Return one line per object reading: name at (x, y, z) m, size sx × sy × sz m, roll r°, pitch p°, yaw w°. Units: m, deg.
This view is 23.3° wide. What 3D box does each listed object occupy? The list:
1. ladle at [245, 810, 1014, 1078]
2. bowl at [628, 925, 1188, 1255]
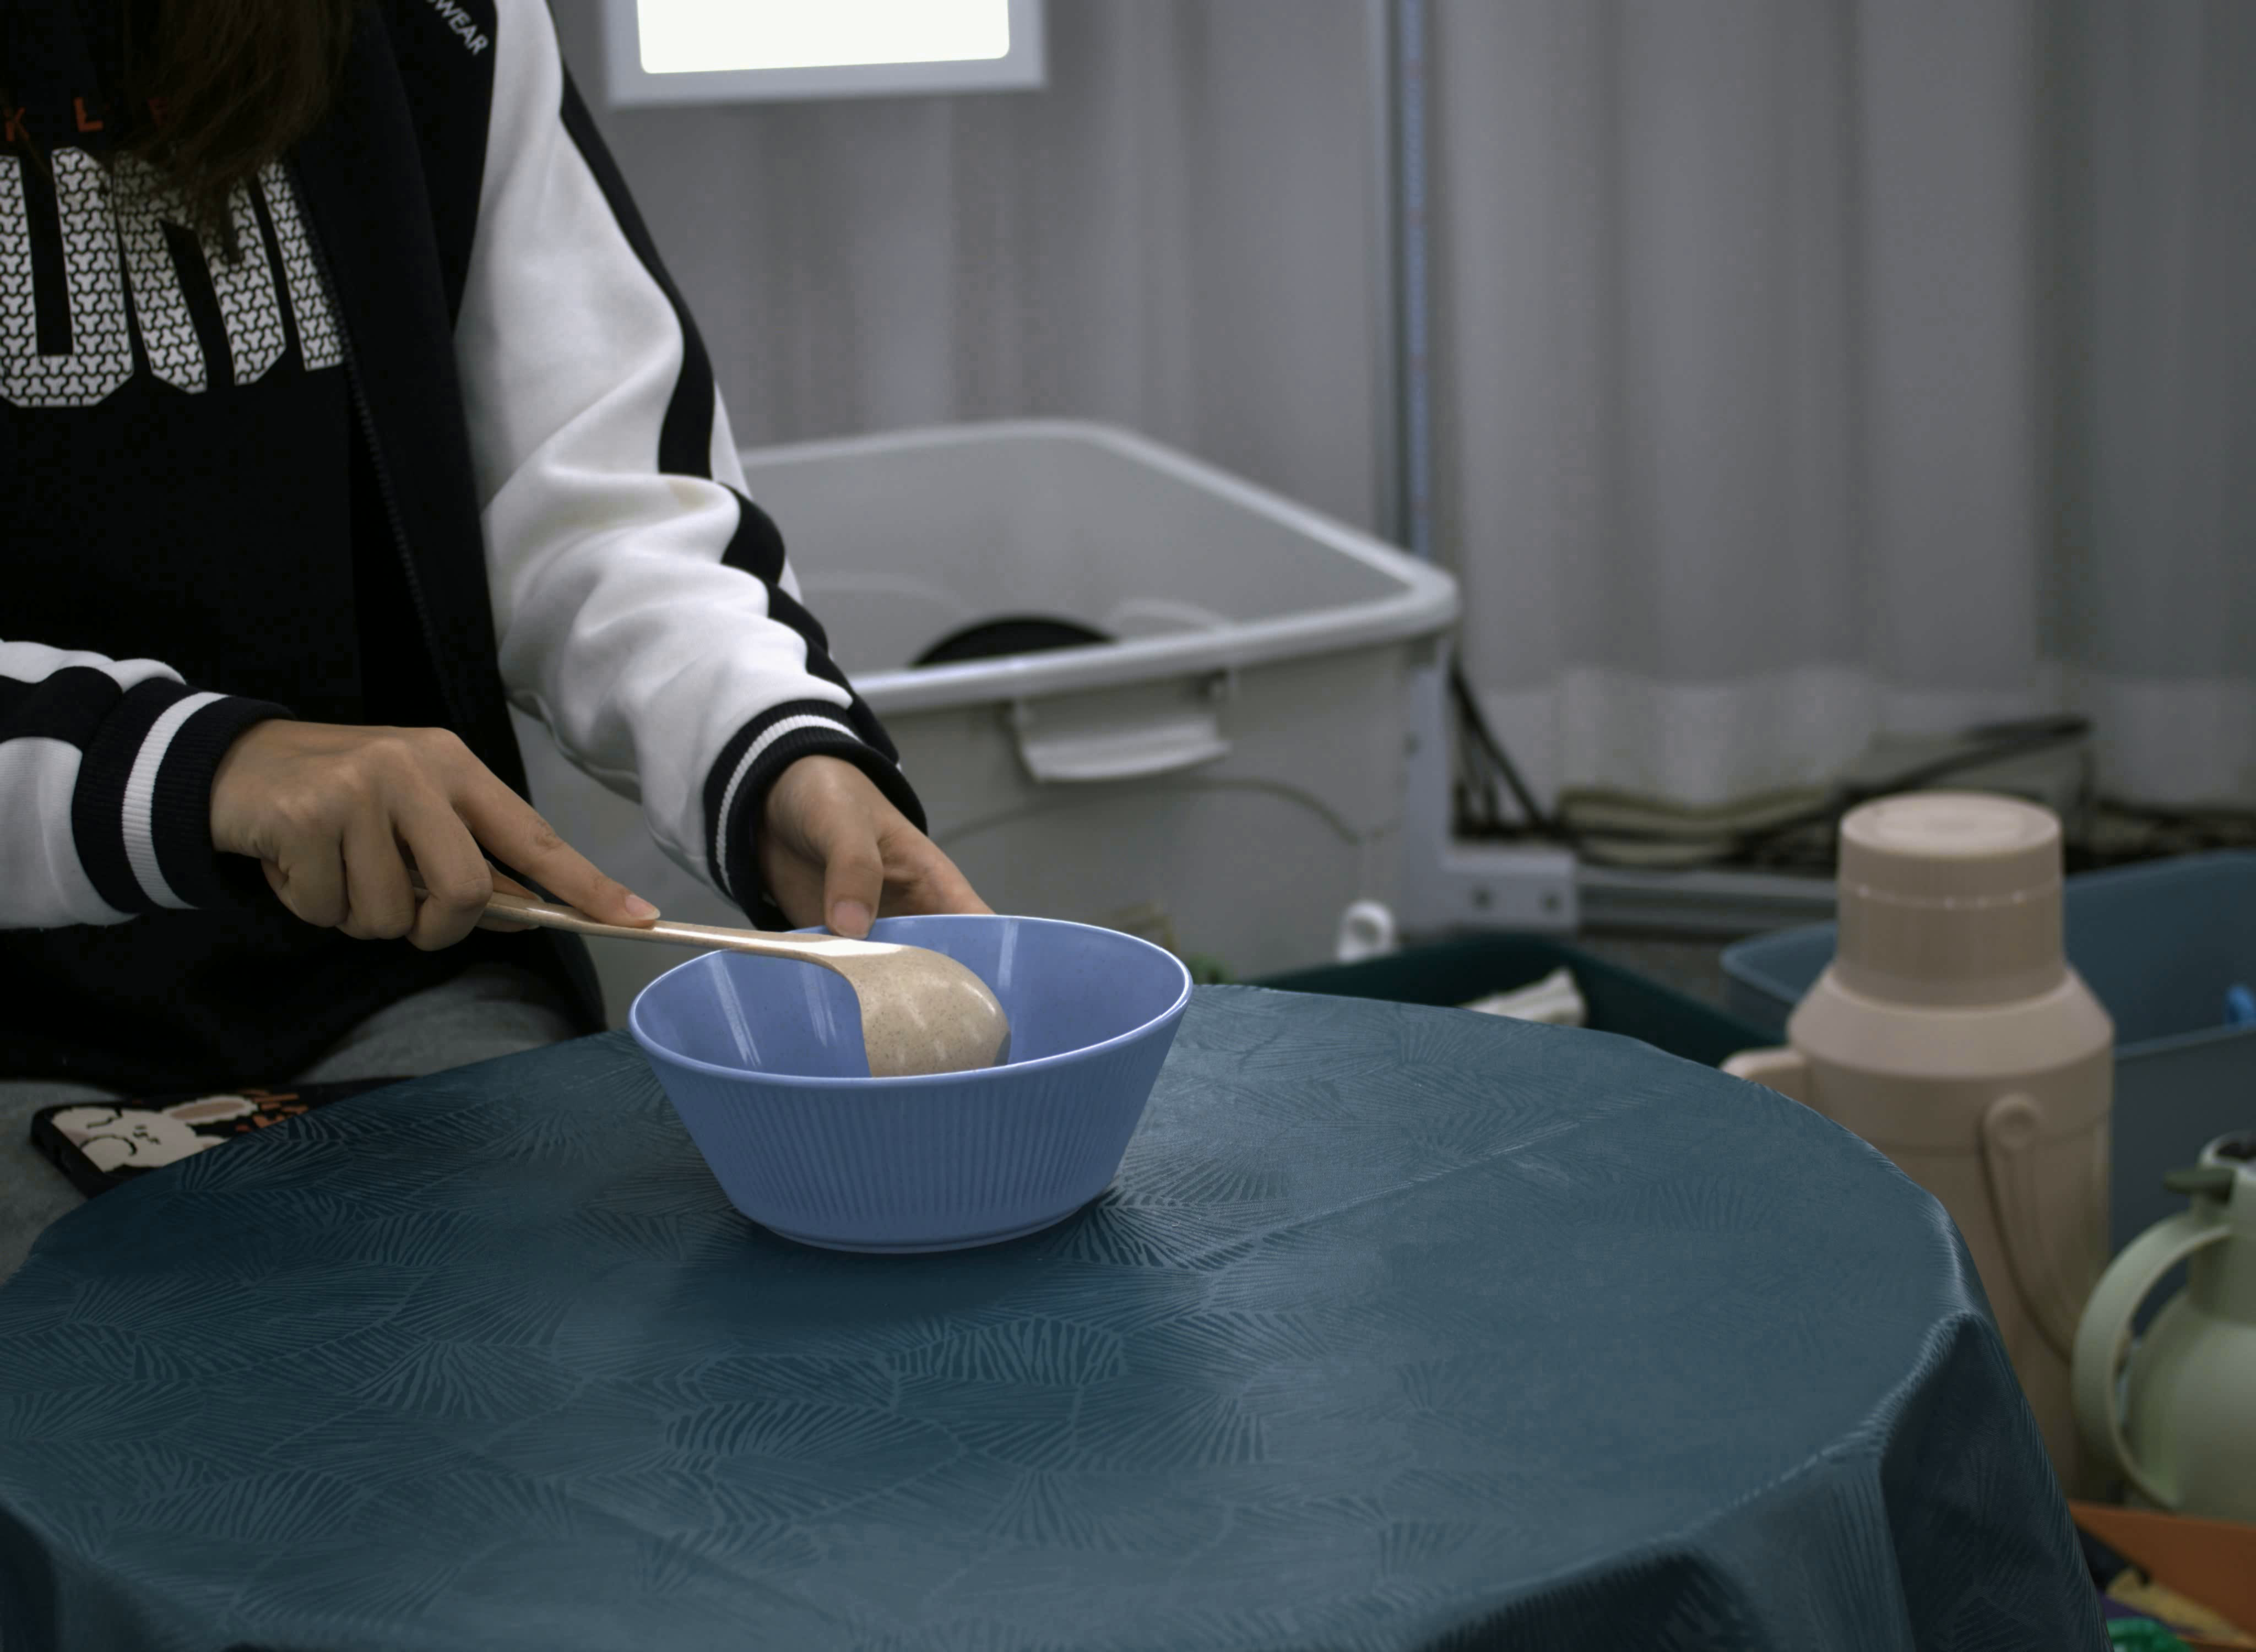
ladle at (-0.162, 0.055, 1.722) m, size 0.254 × 0.072 × 0.072 m, roll 12°, pitch 19°, yaw 11°
bowl at (-0.068, 0.085, 1.709) m, size 0.175 × 0.070 × 0.177 m, roll -2°, pitch 14°, yaw 0°
